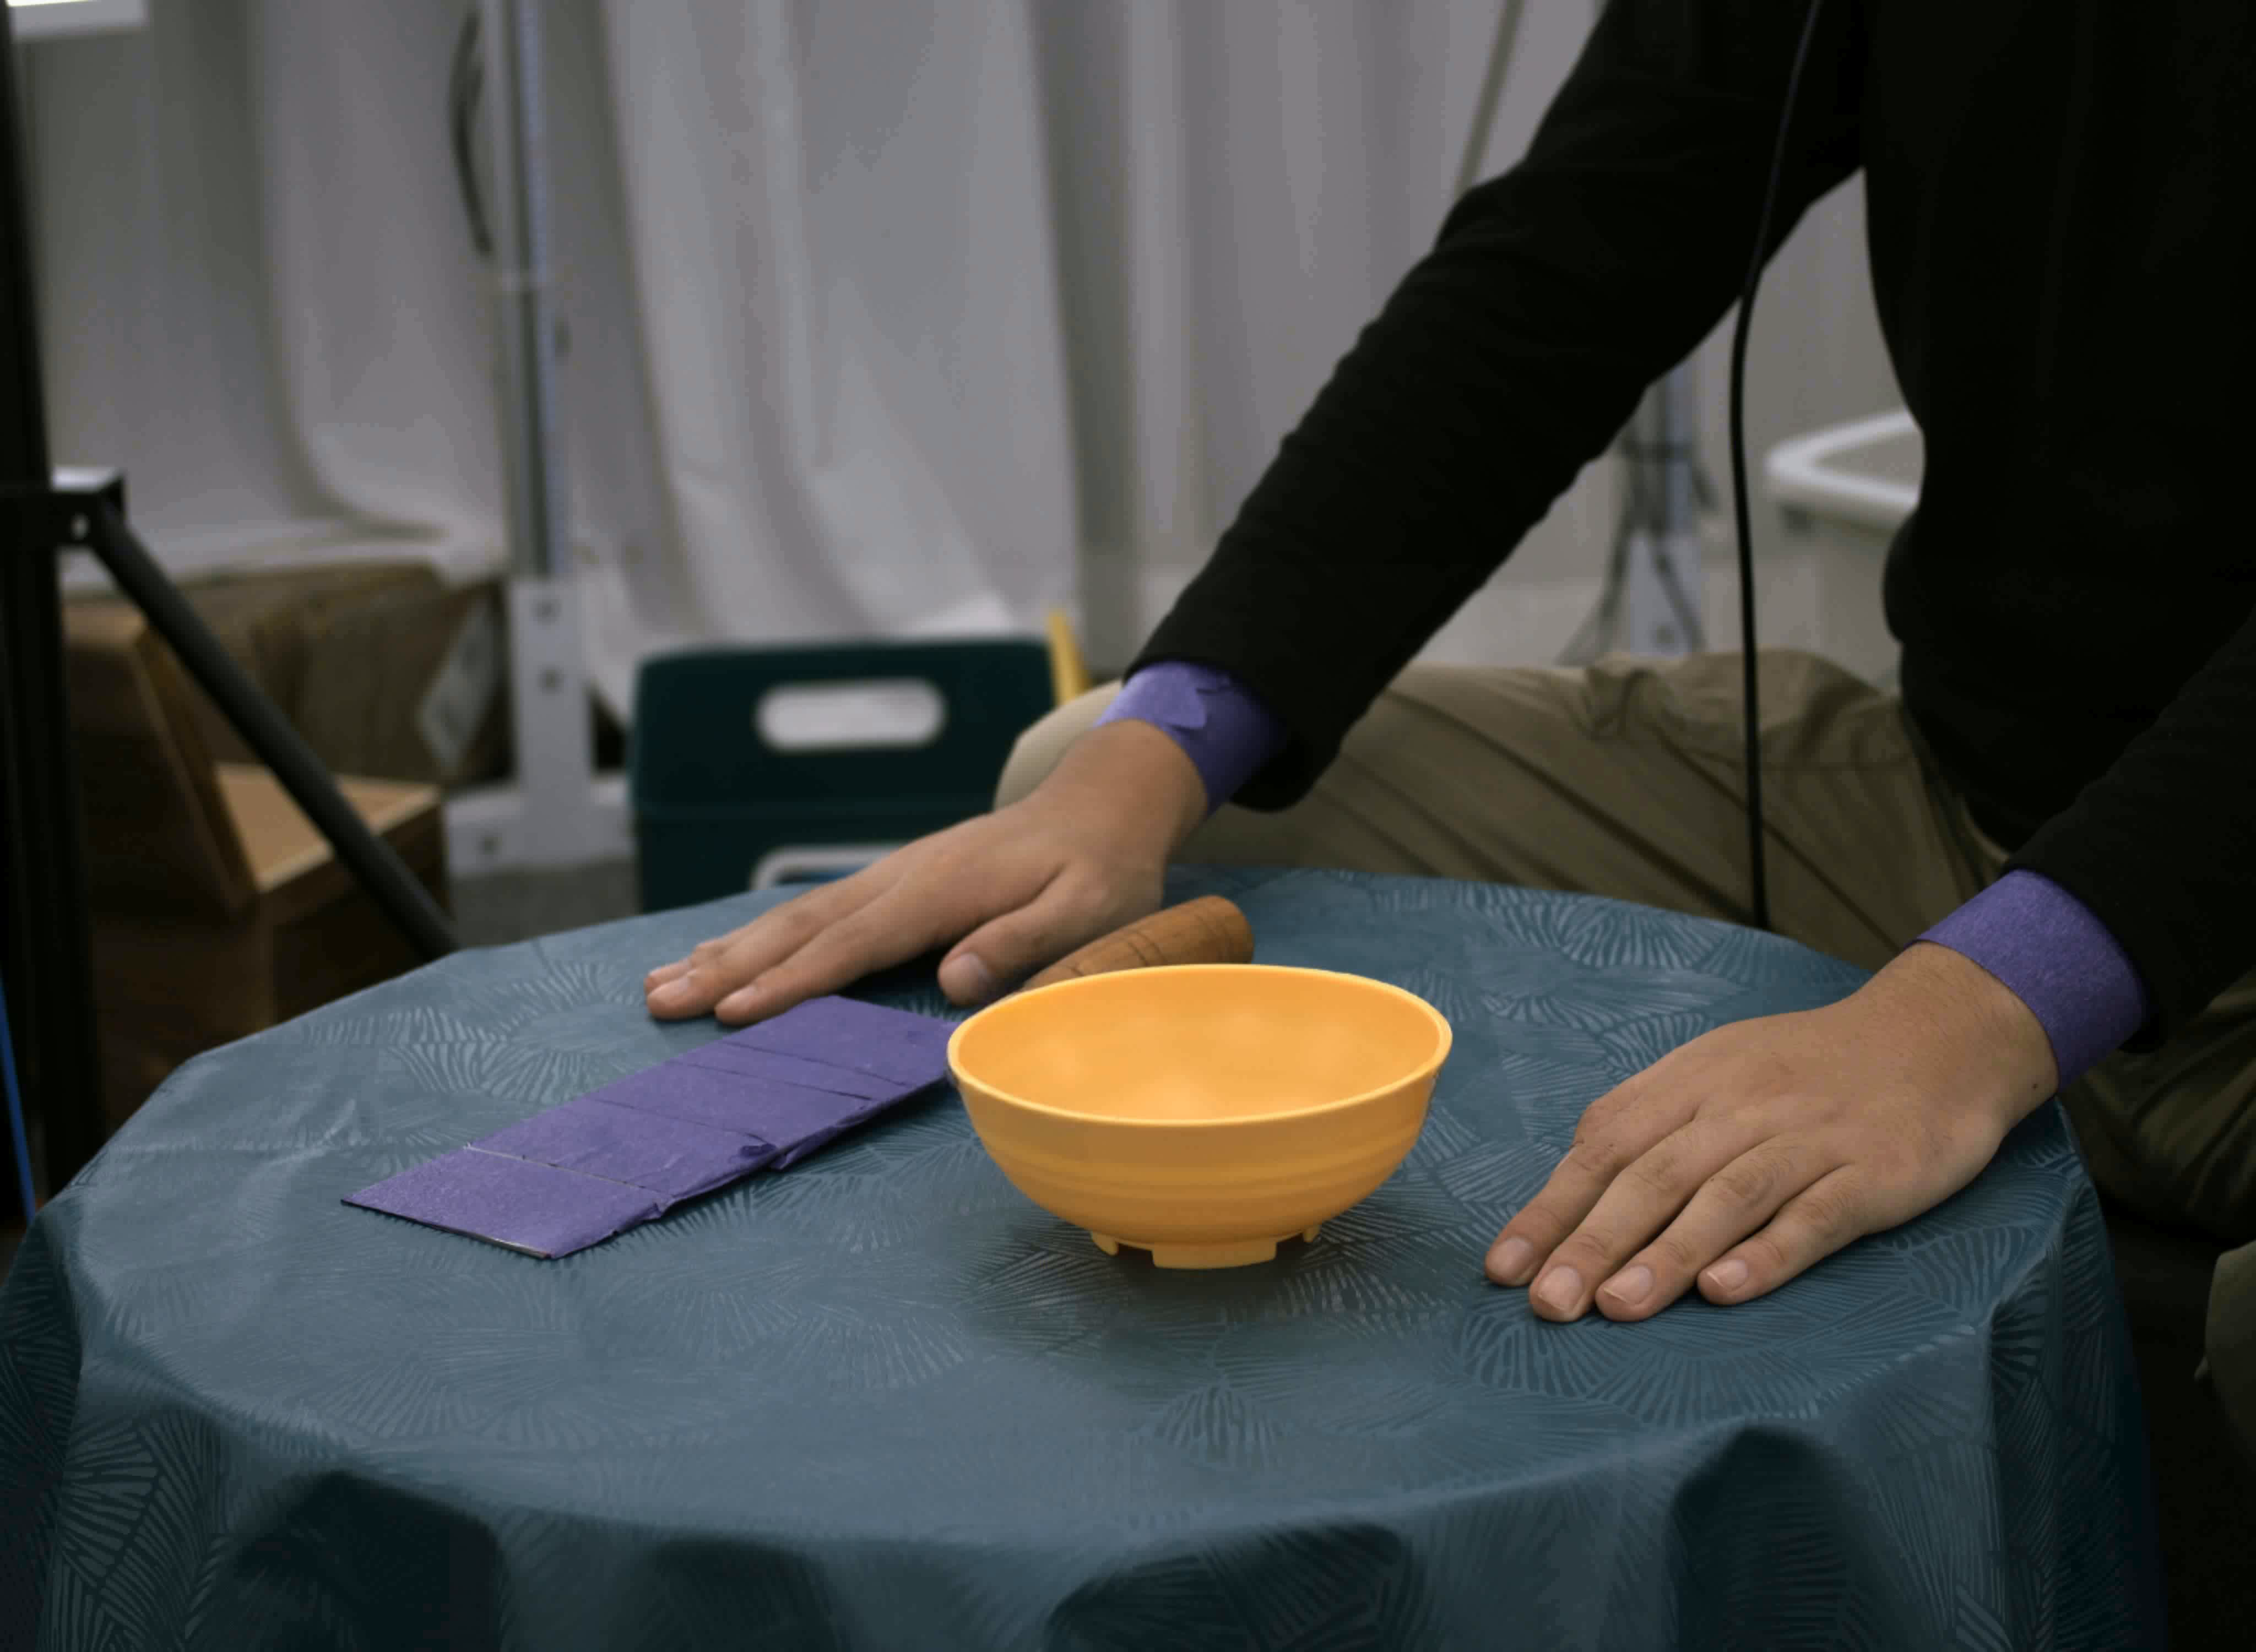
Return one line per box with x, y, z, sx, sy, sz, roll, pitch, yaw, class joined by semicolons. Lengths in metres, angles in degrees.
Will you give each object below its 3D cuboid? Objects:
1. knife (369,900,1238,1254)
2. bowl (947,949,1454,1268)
-0.097;0.071;1.652;0.106;0.032;0.308;12;22;40;knife
0.021;0.087;1.515;0.144;0.060;0.146;-2;17;-1;bowl
